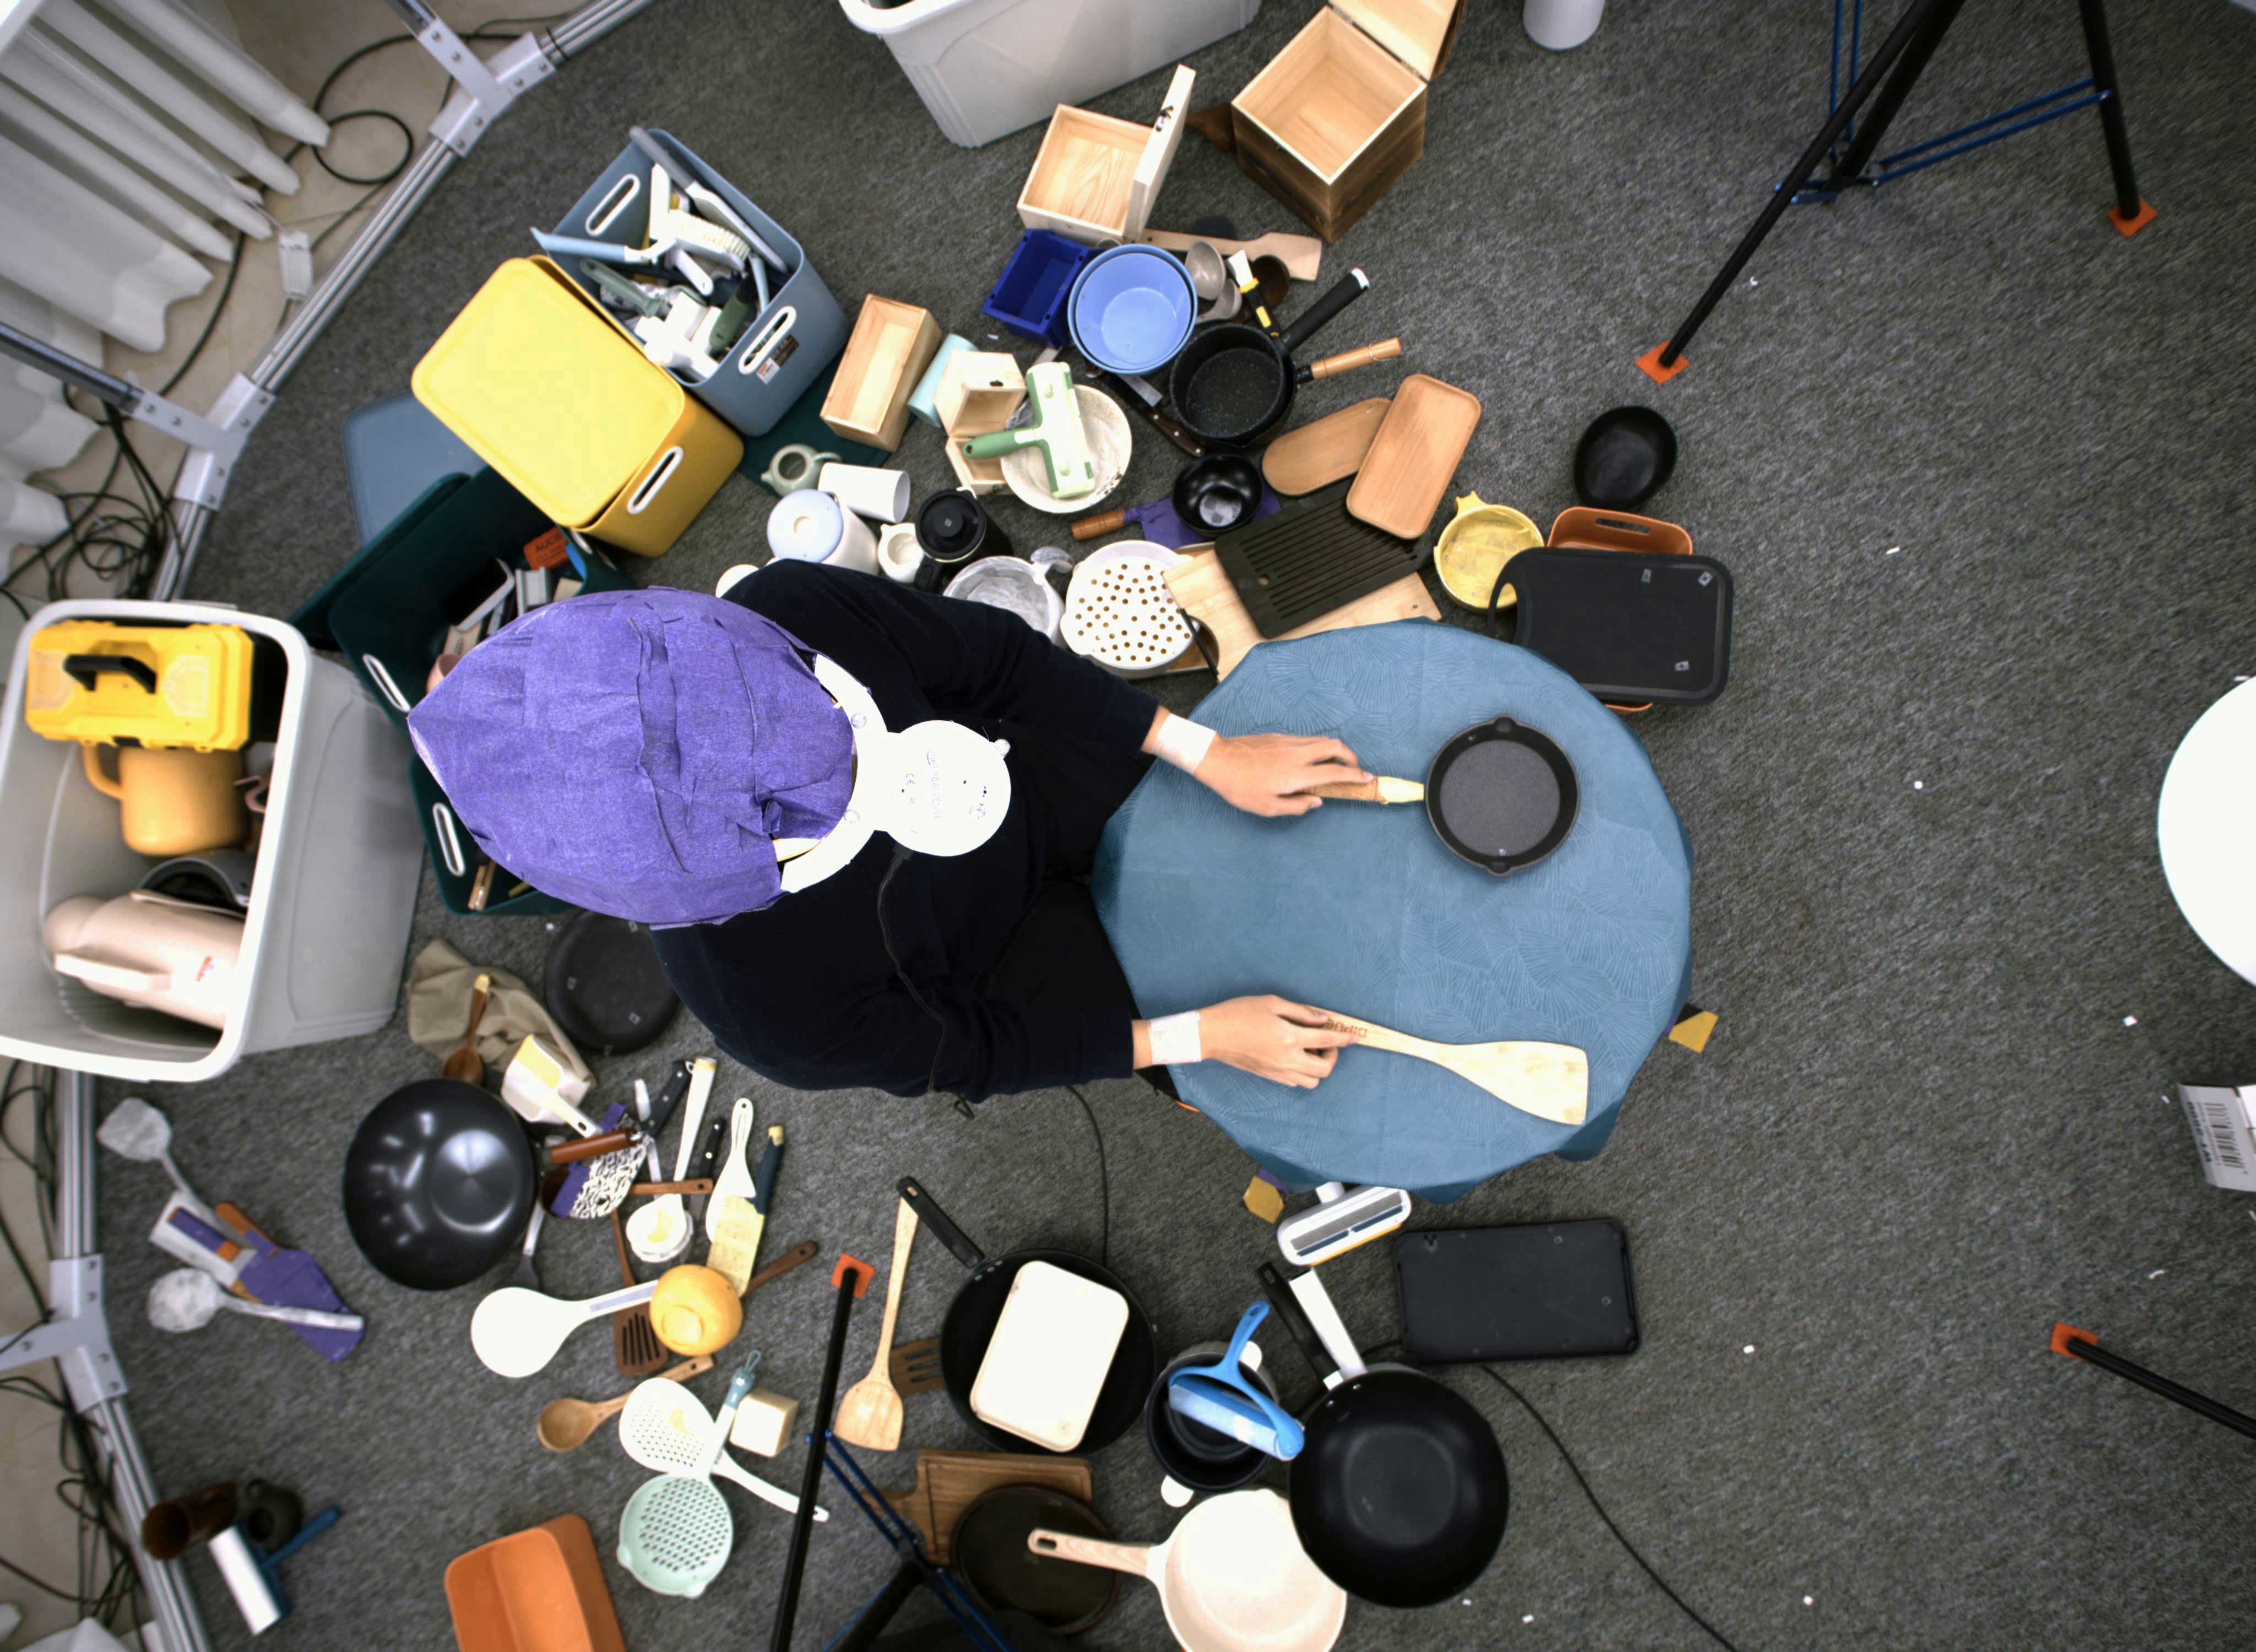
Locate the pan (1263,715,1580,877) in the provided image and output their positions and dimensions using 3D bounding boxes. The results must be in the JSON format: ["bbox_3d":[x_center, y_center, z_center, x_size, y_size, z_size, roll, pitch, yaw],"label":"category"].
[{"bbox_3d":[0.303,-0.040,1.434,0.325,0.049,0.168,5,87,9],"label":"pan"}]

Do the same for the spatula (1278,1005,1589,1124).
[{"bbox_3d":[0.317,0.230,1.432,0.328,0.016,0.079,13,87,8],"label":"spatula"}]
